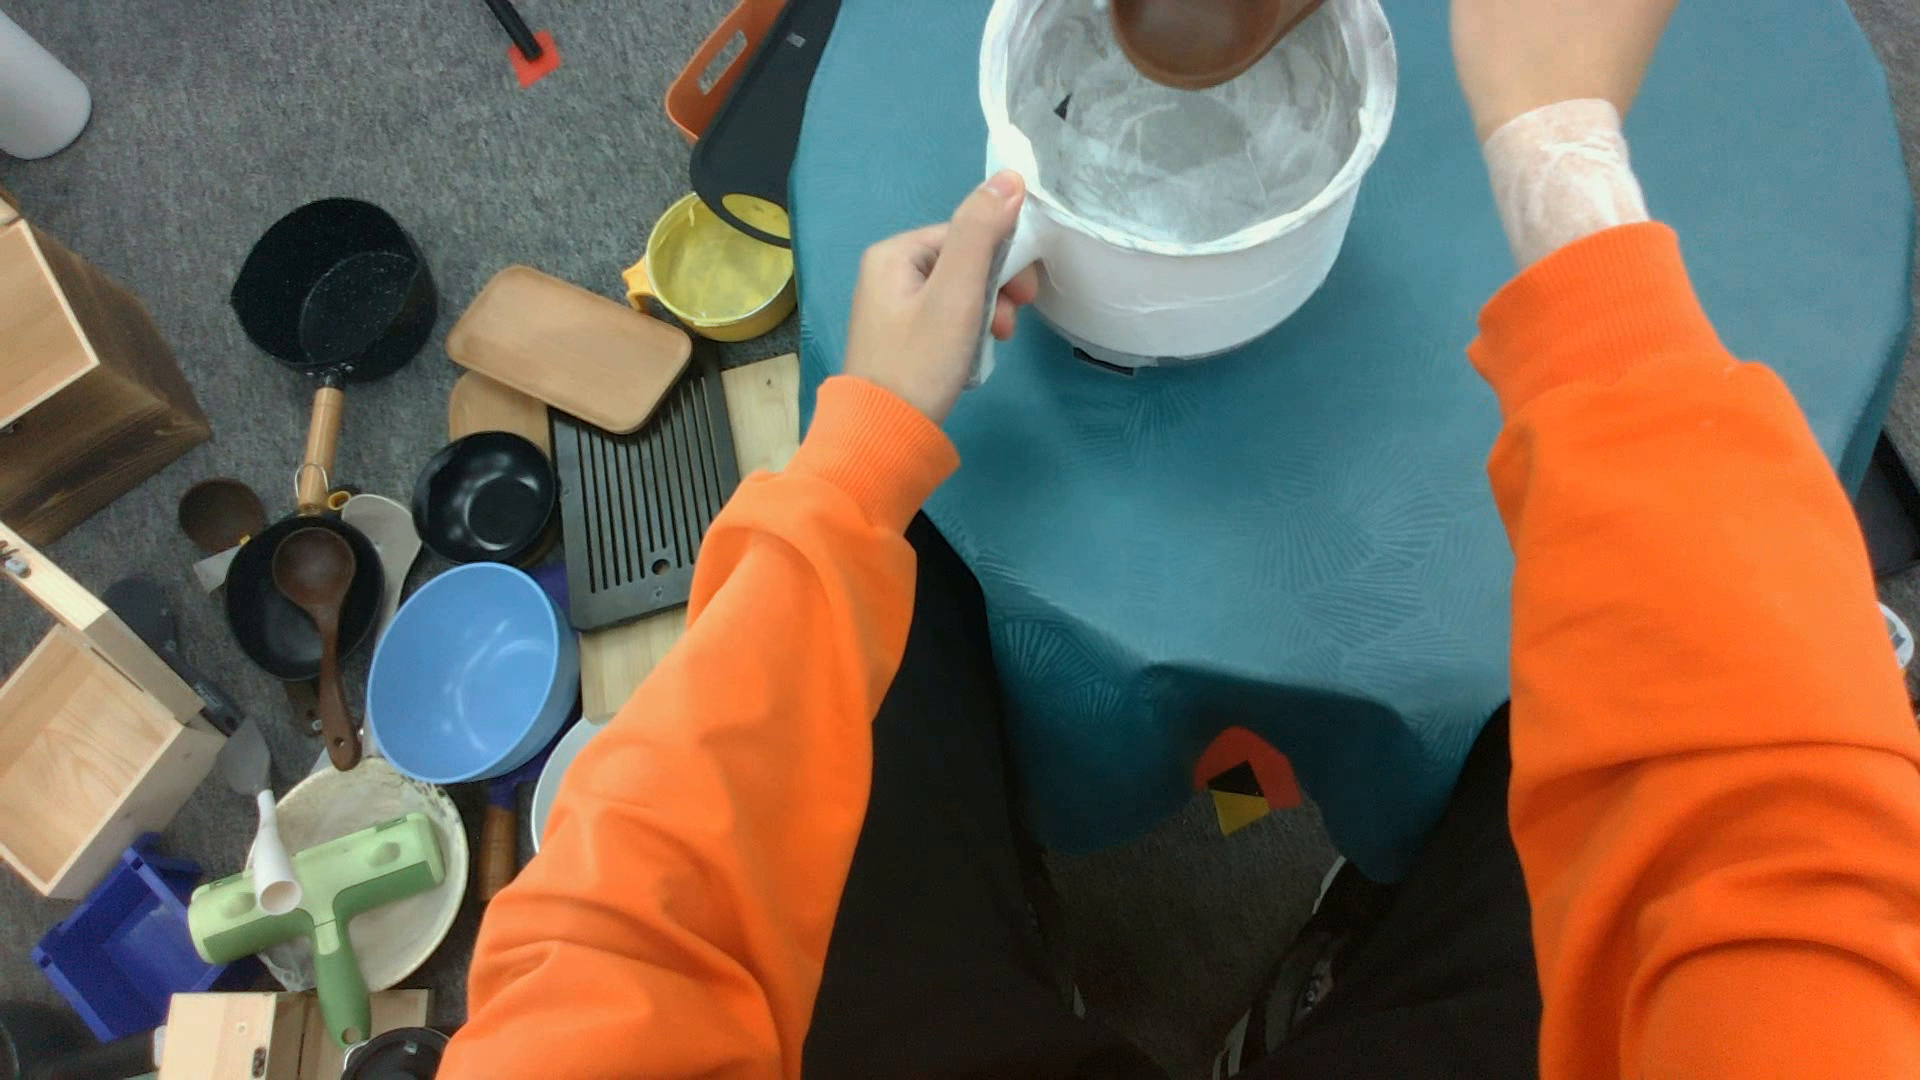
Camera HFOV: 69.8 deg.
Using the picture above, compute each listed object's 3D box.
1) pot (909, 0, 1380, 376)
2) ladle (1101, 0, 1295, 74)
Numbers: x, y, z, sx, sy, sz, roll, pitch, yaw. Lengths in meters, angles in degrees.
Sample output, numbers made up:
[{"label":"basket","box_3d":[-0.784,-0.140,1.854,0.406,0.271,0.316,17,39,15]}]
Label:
[{"label":"pot","box_3d":[0.073,-0.171,0.646,0.234,0.136,0.179,-40,74,-10]},{"label":"ladle","box_3d":[0.166,-0.255,0.529,0.259,0.065,0.076,-13,83,46]}]
